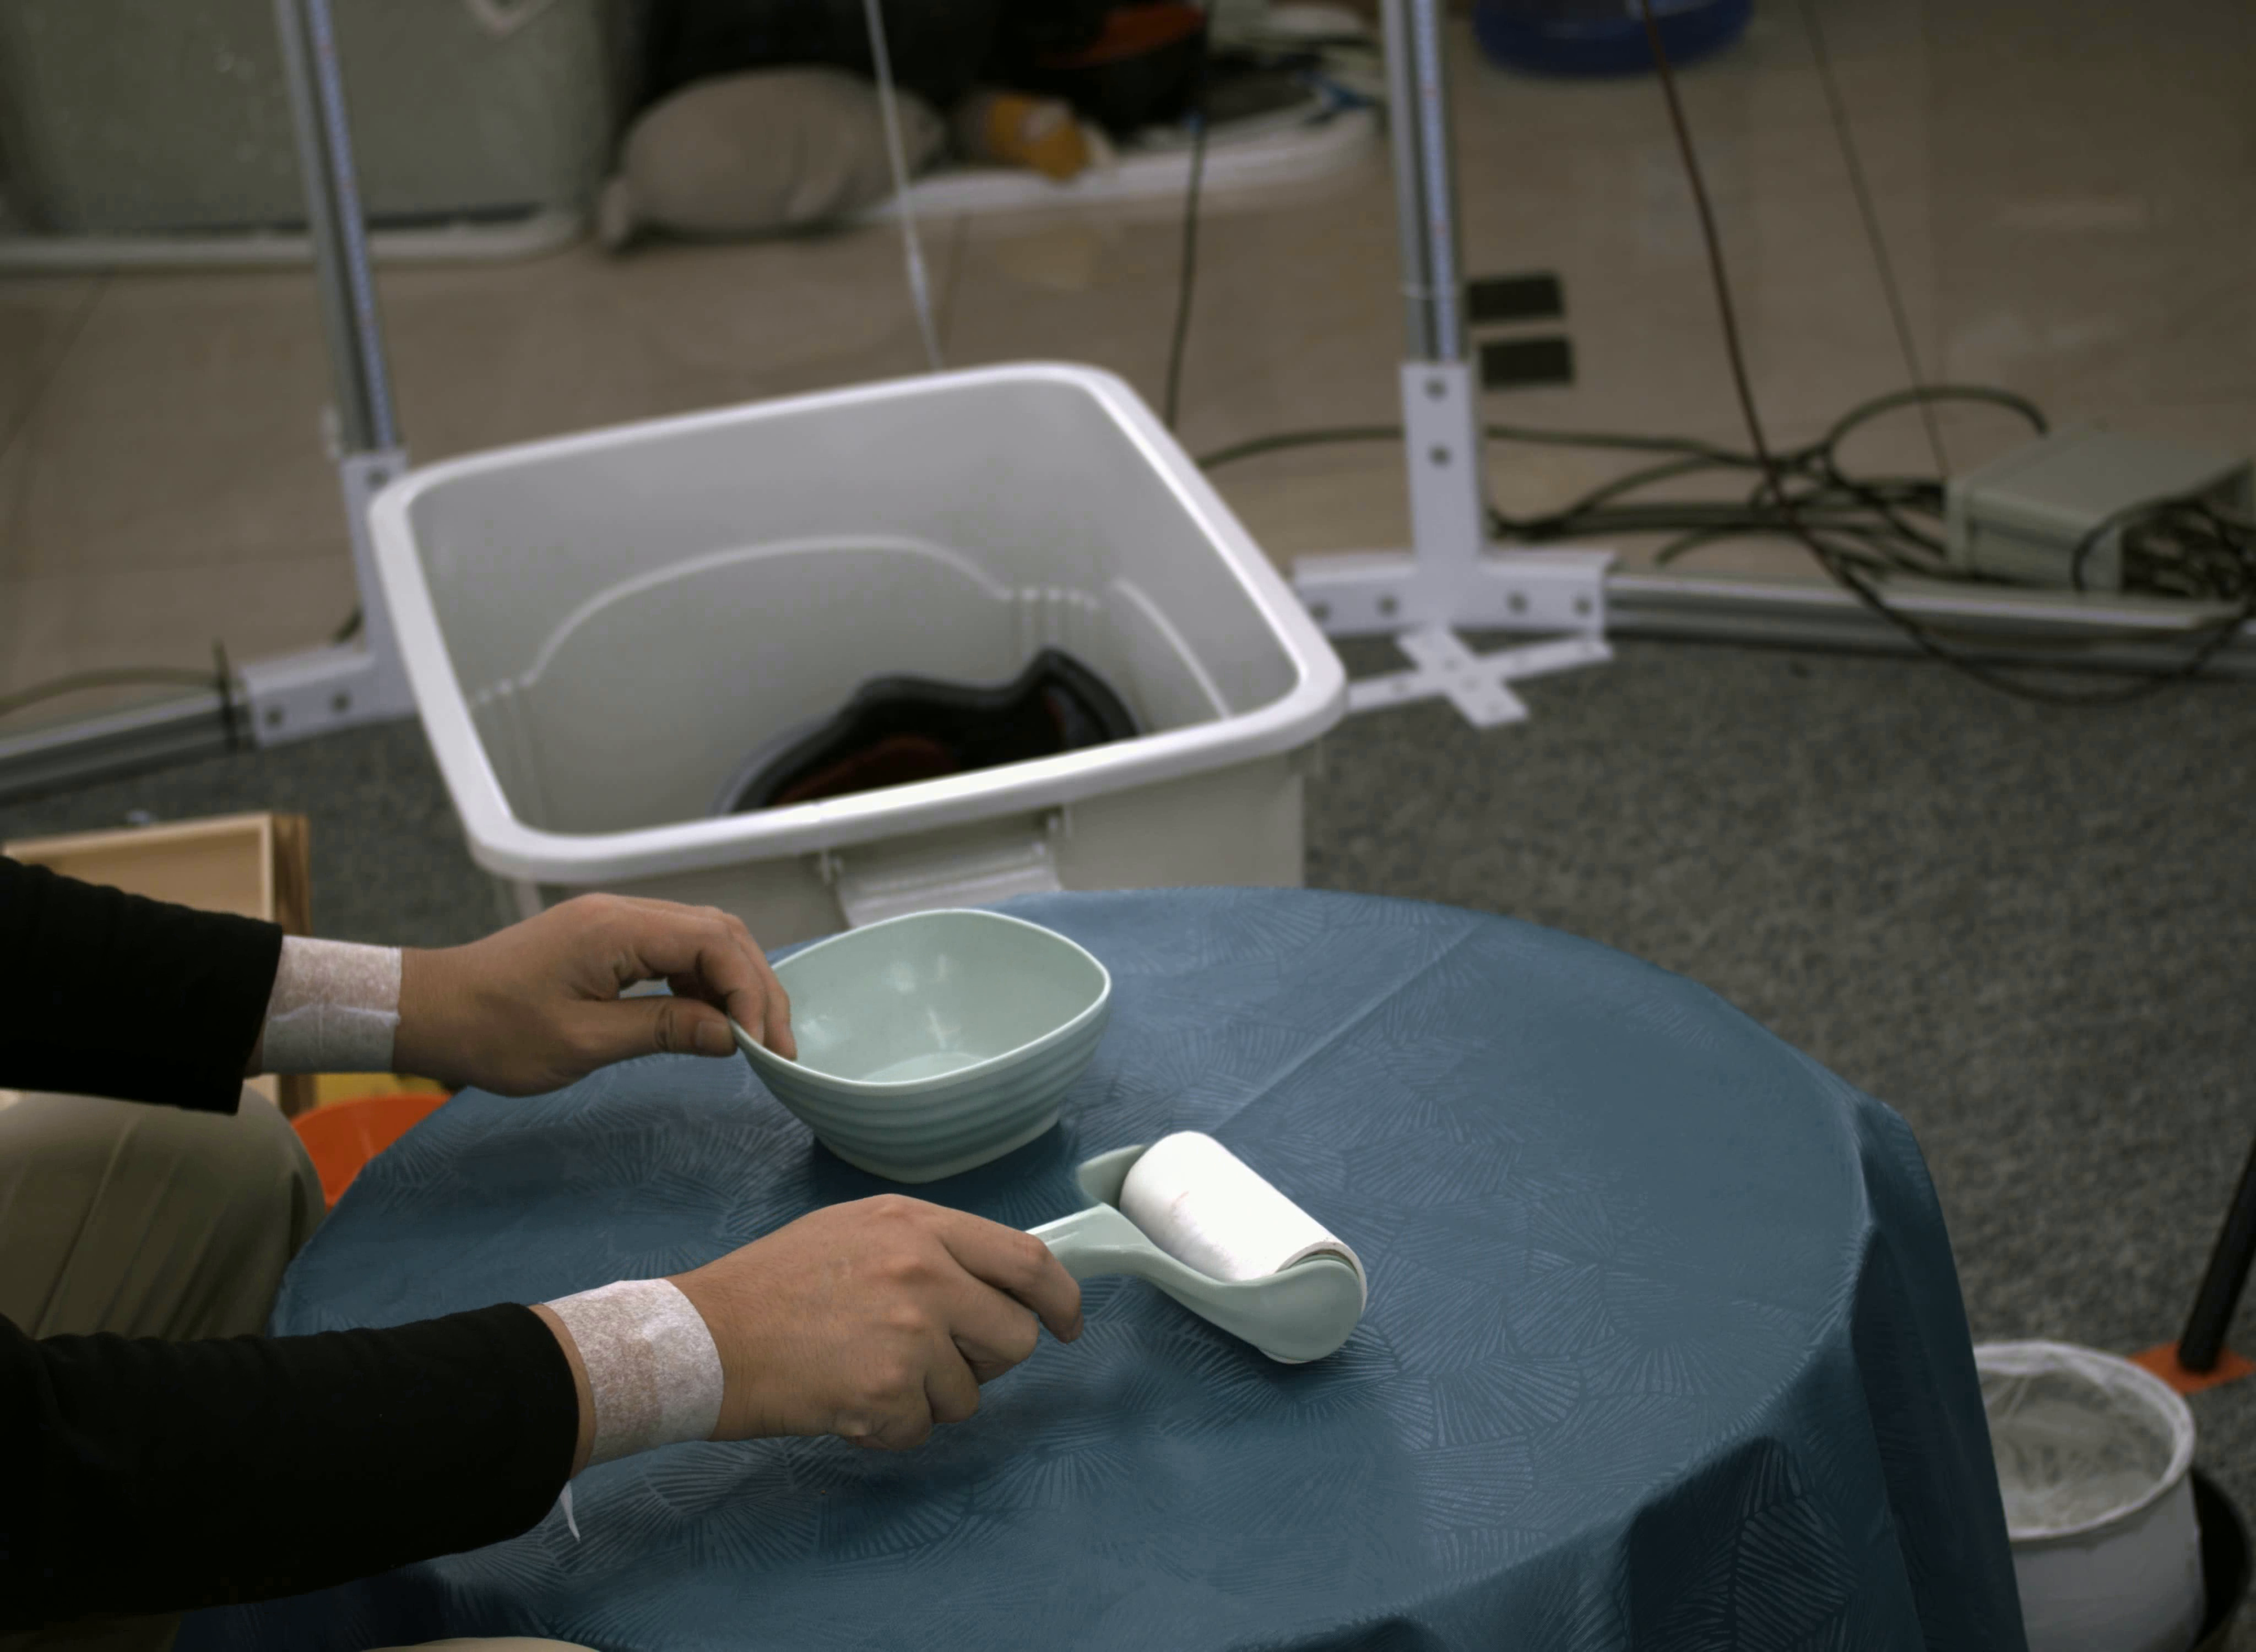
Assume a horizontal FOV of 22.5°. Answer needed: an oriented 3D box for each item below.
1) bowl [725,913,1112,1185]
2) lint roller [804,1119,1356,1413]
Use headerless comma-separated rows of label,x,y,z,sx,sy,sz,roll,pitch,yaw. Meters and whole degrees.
bowl,-0.079,0.092,2.202,0.151,0.059,0.149,-4,25,2
lint roller,-0.028,0.161,2.018,0.197,0.049,0.115,-12,29,-27
